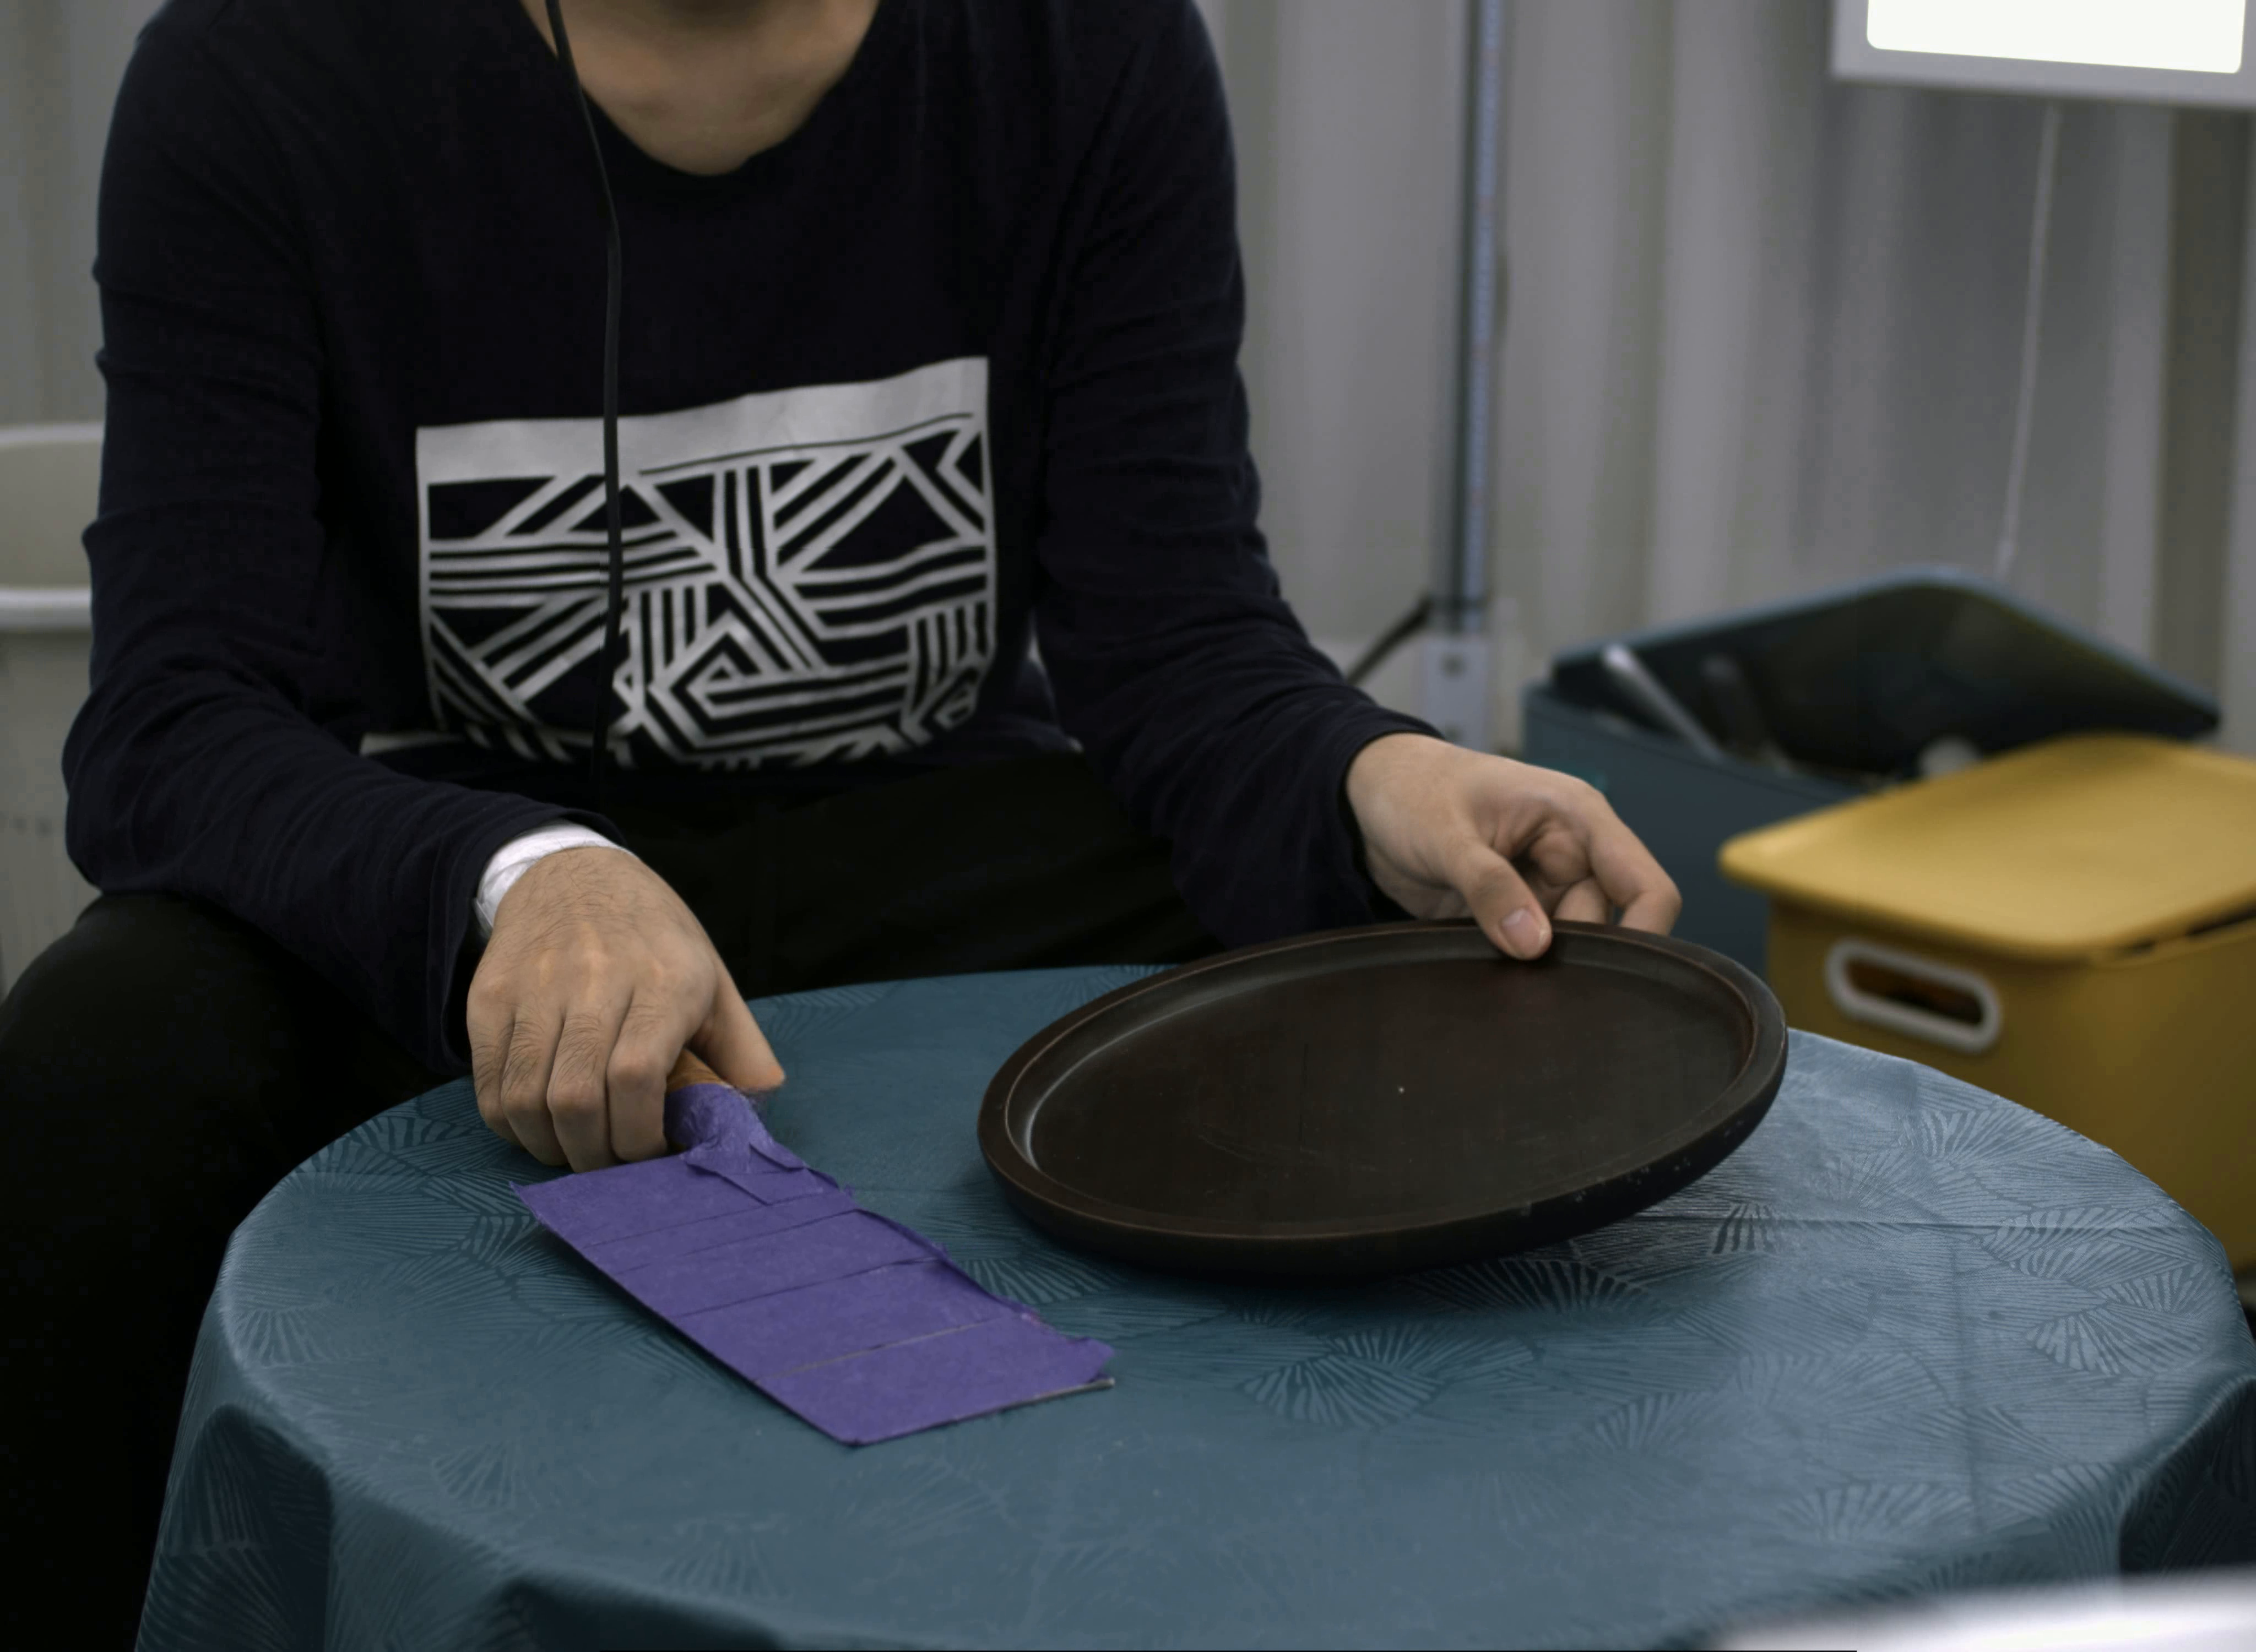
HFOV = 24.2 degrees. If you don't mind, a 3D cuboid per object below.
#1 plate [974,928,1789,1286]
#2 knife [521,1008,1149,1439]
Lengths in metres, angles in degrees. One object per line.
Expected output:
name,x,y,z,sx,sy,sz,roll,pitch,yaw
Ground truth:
plate,0.078,0.084,1.627,0.254,0.029,0.253,-6,20,3
knife,-0.120,0.114,1.560,0.104,0.032,0.311,-9,19,-33
